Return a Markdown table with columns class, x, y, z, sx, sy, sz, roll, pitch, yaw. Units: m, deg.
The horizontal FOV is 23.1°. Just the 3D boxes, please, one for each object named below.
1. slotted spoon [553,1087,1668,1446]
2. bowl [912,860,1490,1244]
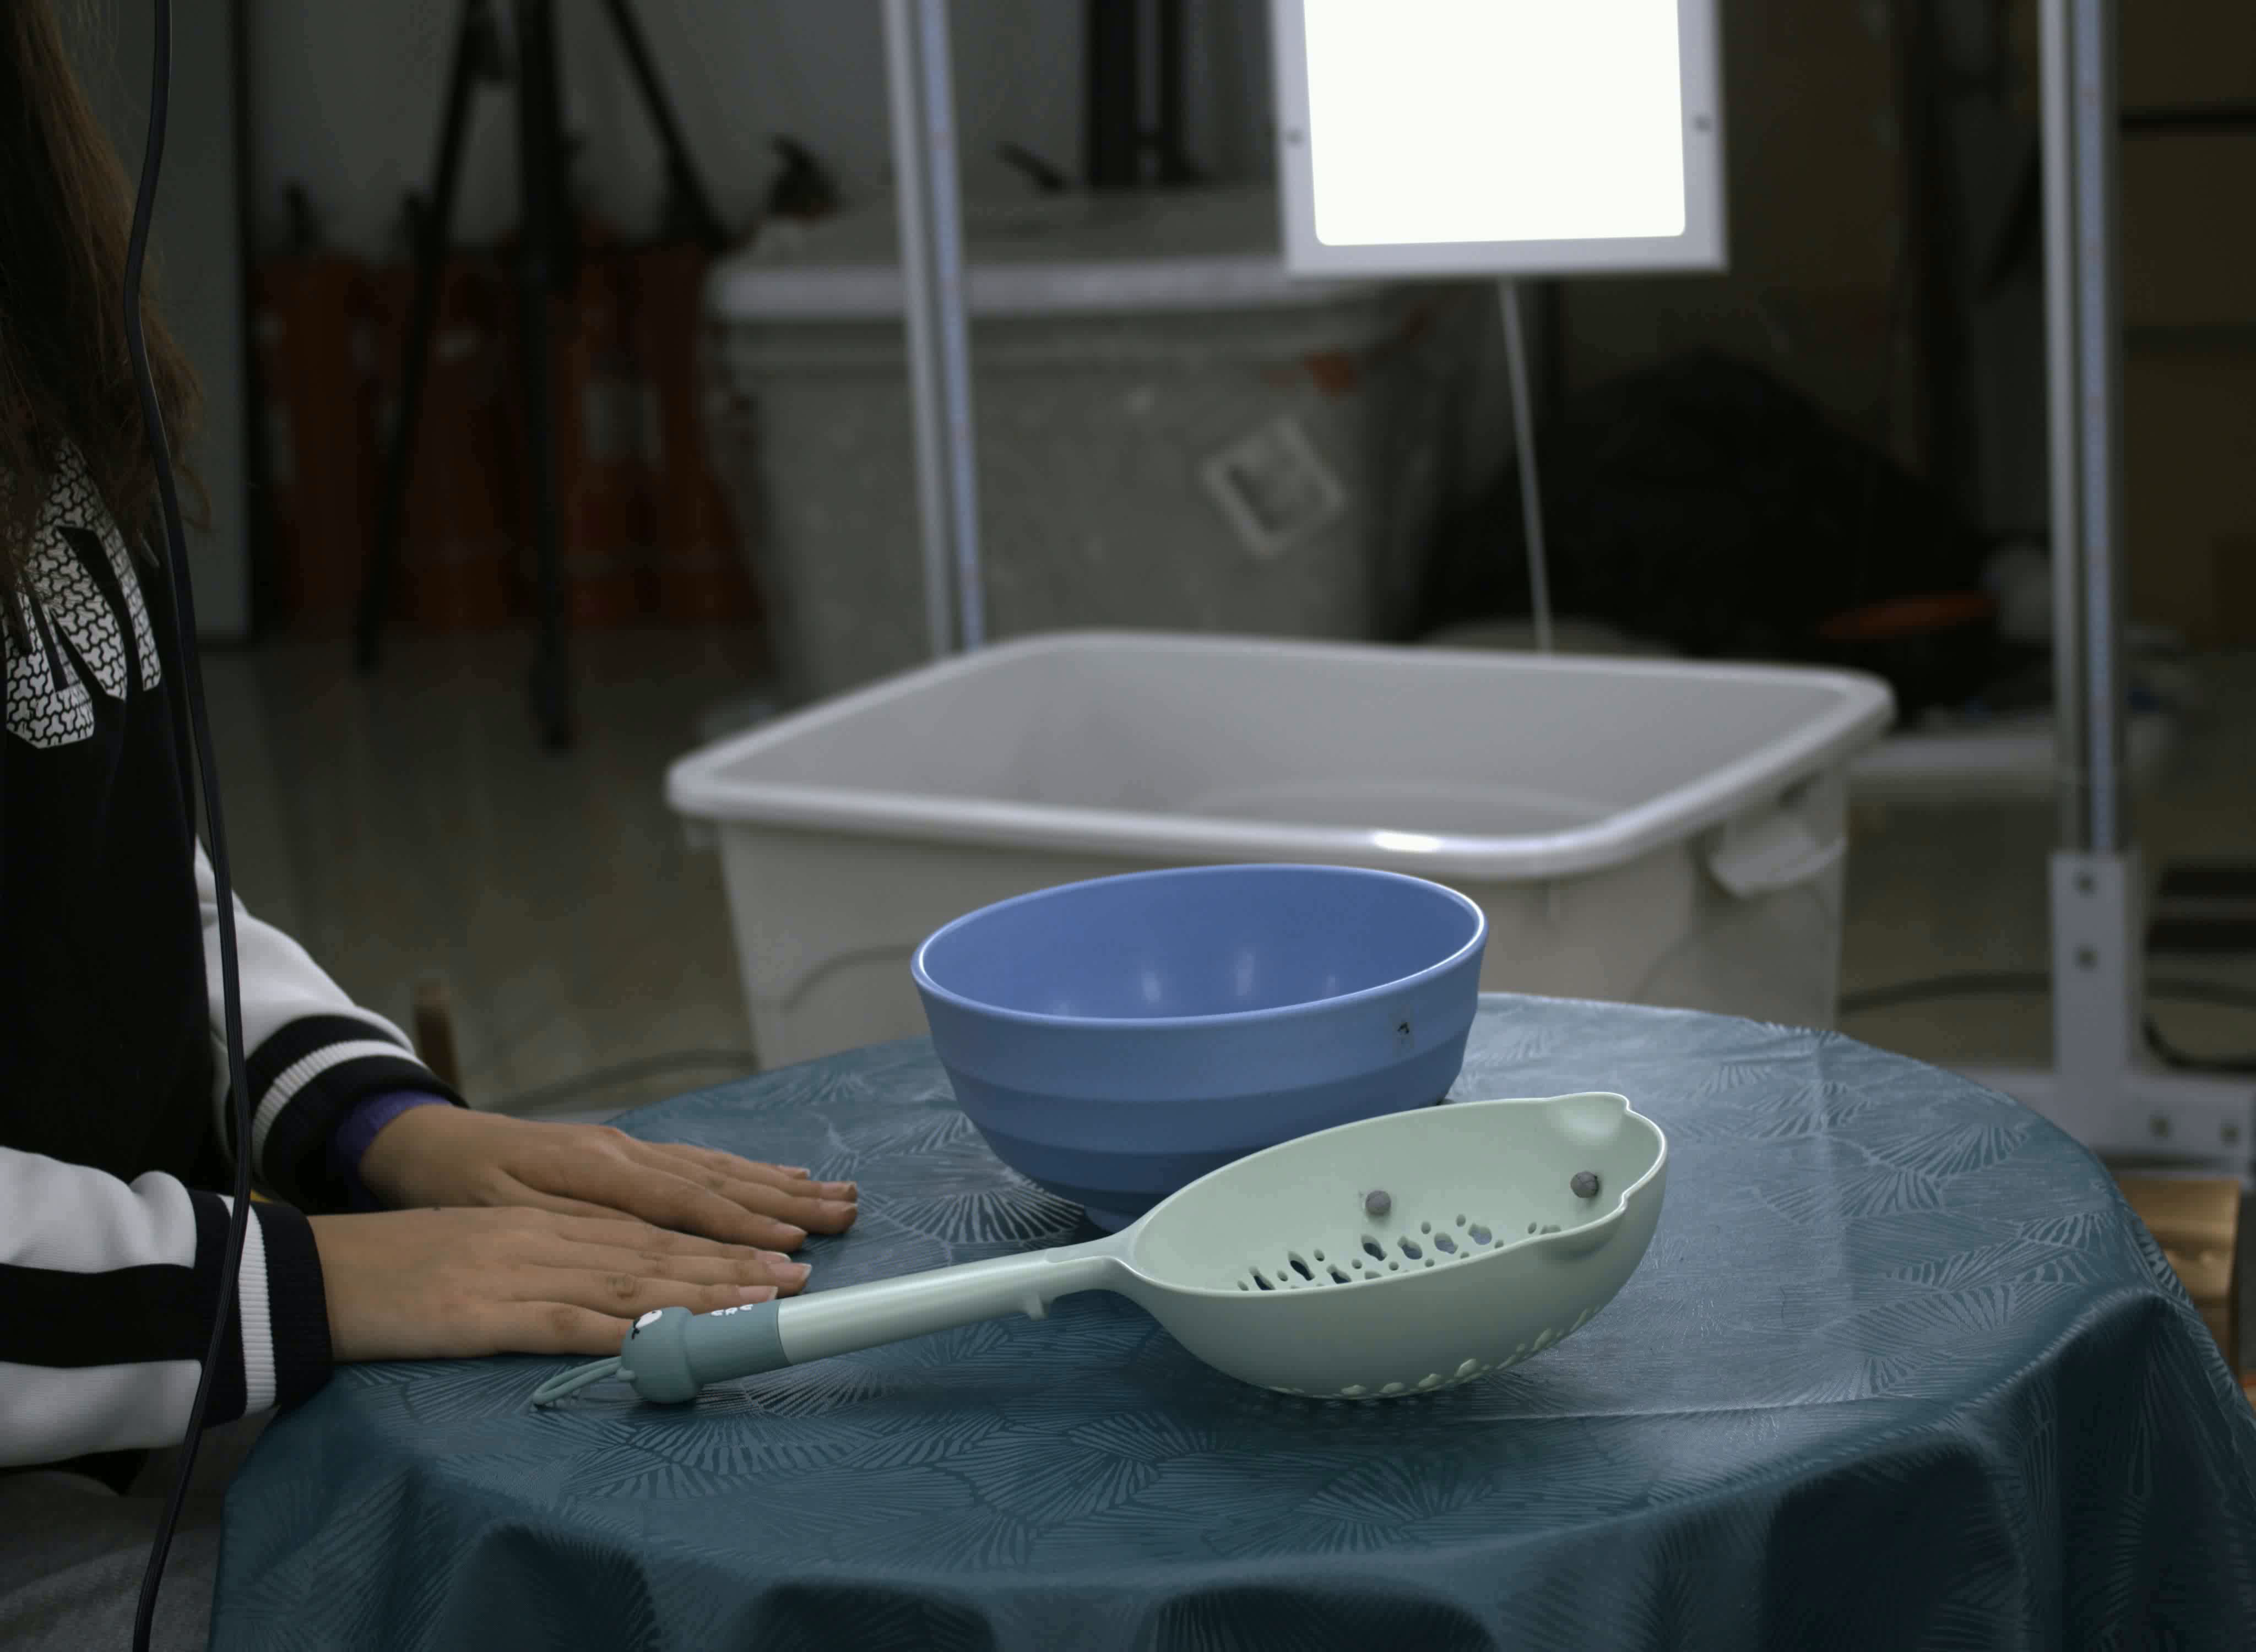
| class | x | y | z | sx | sy | sz | roll | pitch | yaw |
| --- | --- | --- | --- | --- | --- | --- | --- | --- | --- |
| slotted spoon | -0.009 | 0.145 | 1.706 | 0.361 | 0.075 | 0.168 | -5 | 13 | 10 |
| bowl | 0.028 | 0.083 | 1.868 | 0.196 | 0.096 | 0.196 | -5 | 14 | 0 |
